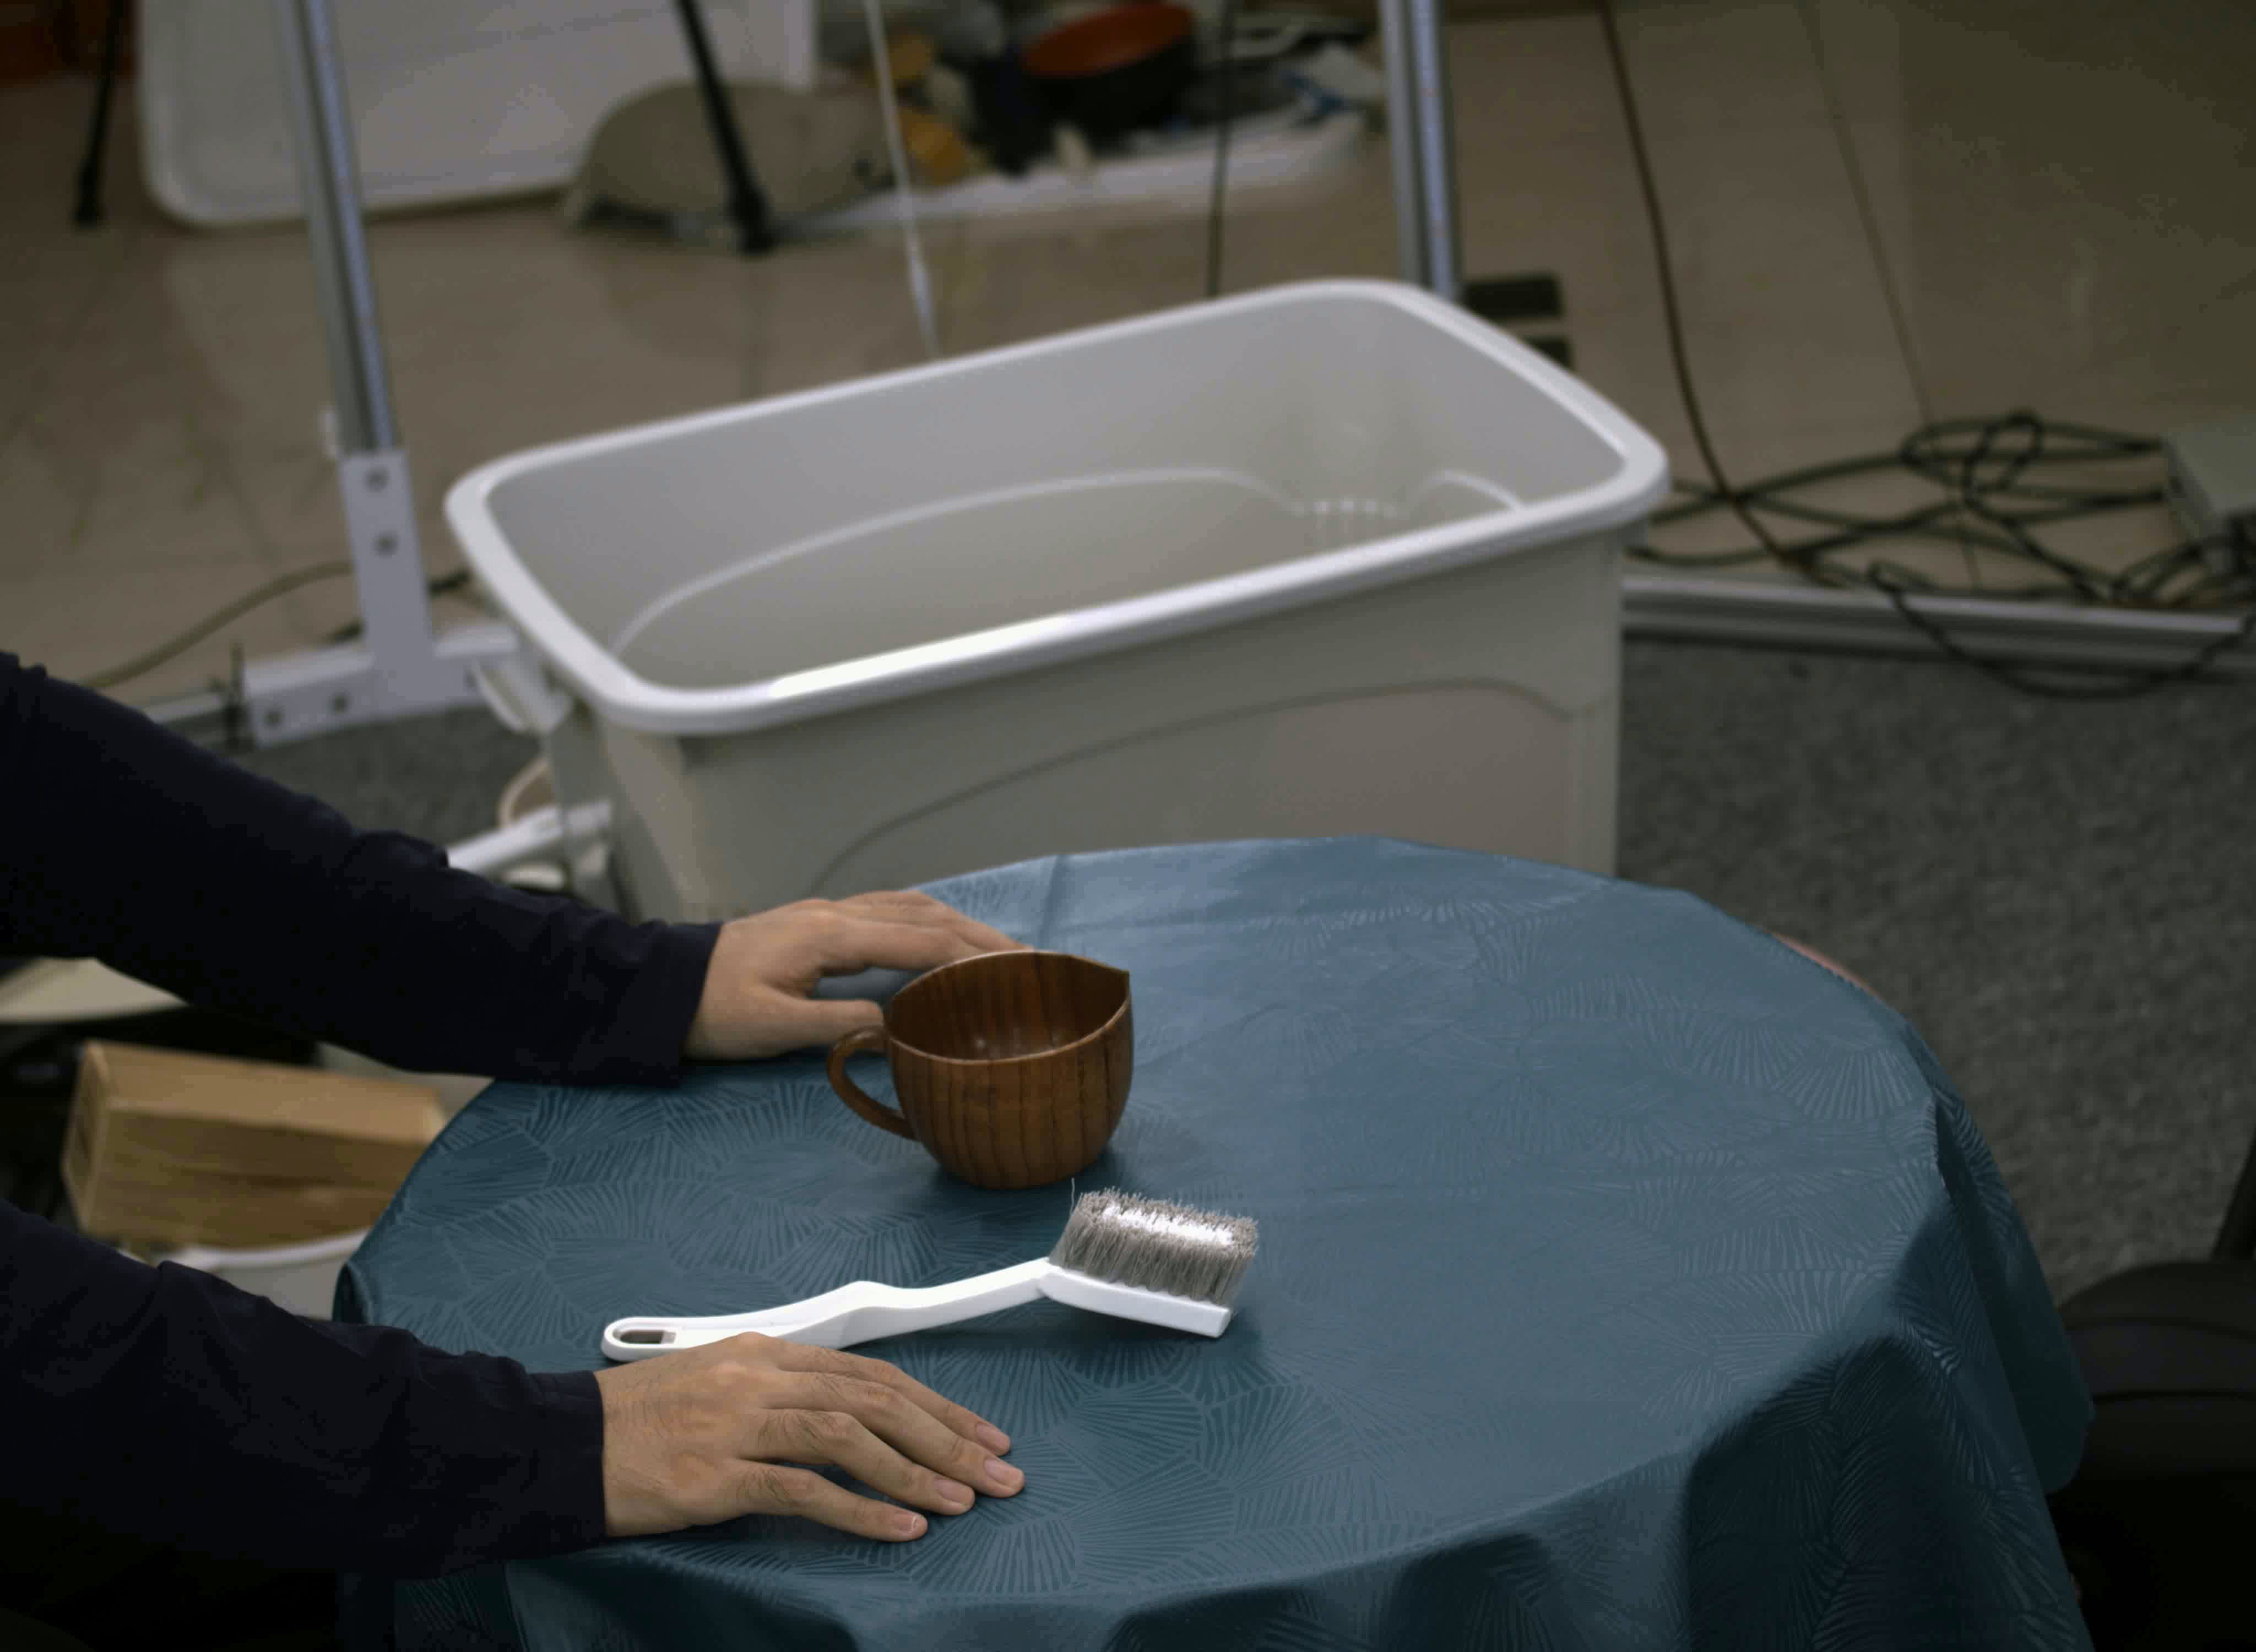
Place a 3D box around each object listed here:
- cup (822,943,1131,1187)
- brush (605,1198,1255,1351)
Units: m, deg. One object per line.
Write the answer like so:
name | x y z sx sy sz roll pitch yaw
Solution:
cup | -0.057 0.095 2.171 0.119 0.069 0.094 -5 27 -2
brush | -0.074 0.163 2.057 0.243 0.051 0.034 -2 30 9
